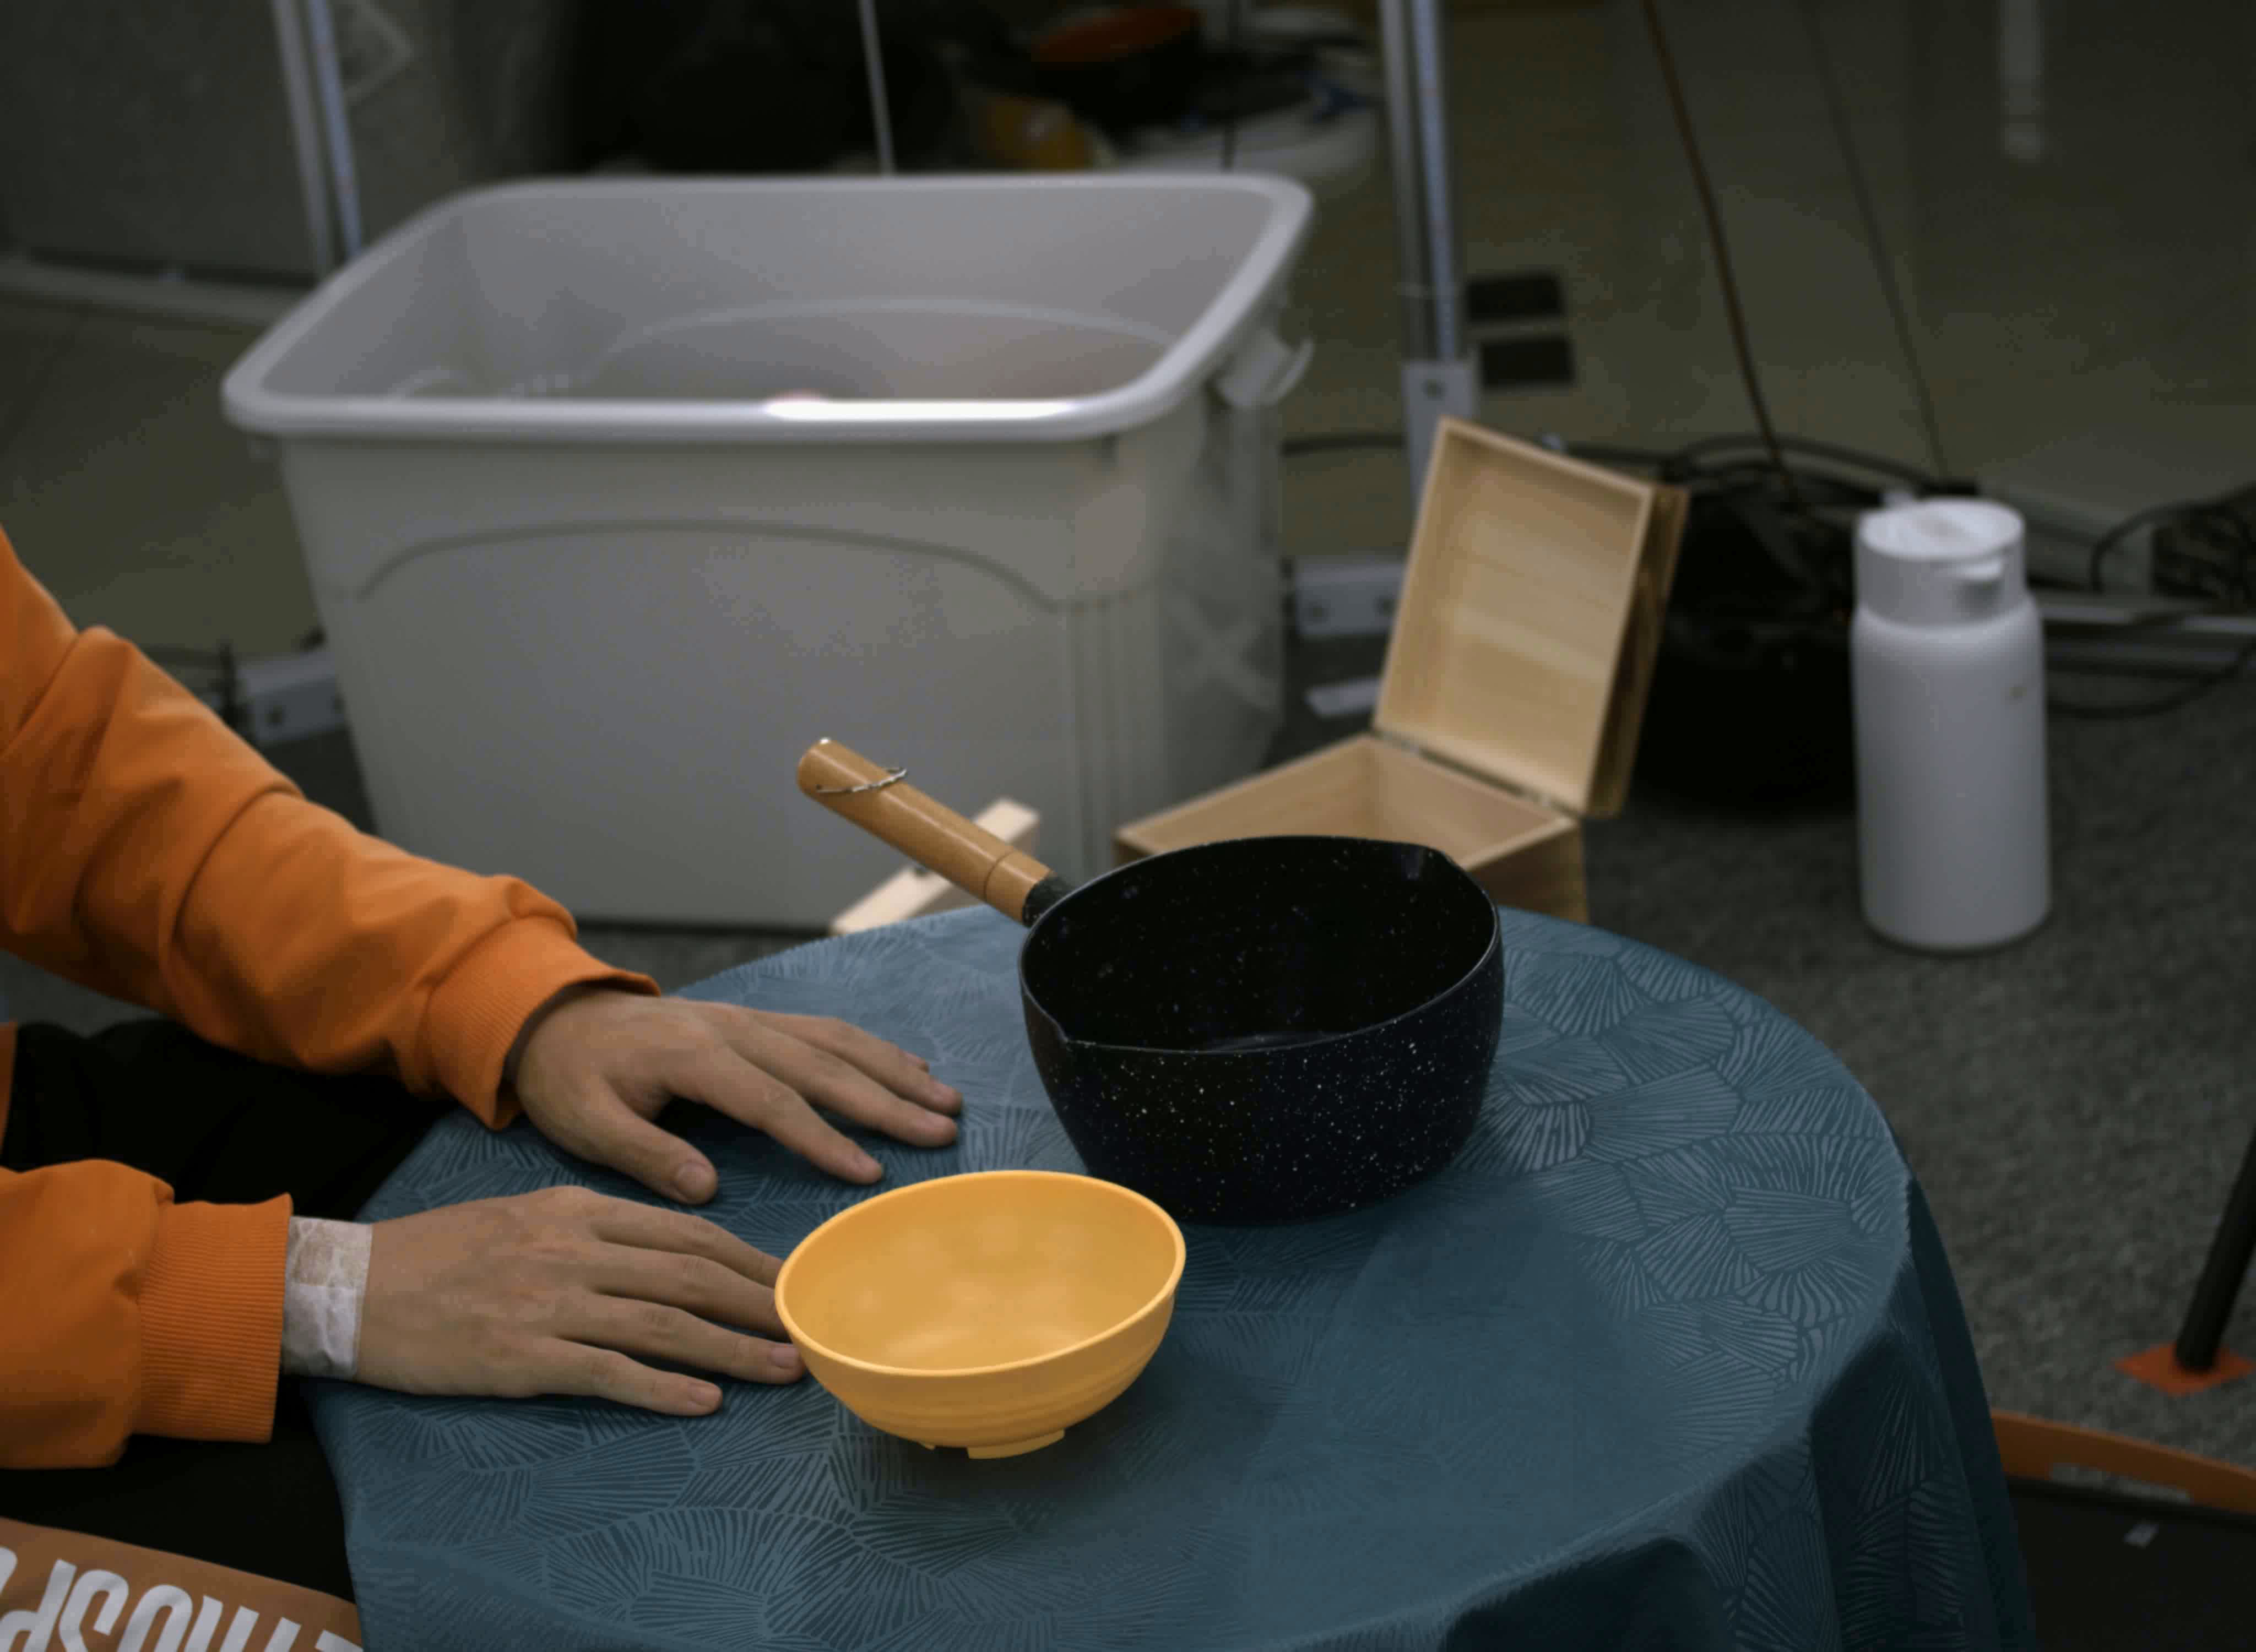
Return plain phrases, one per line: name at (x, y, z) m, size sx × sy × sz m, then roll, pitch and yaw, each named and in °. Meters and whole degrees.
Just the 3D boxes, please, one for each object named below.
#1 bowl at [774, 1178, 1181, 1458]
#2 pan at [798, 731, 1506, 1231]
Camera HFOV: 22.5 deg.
bowl at (-0.051, 0.182, 1.999) m, size 0.145 × 0.061 × 0.143 m, roll -5°, pitch 24°, yaw 2°
pan at (-0.005, 0.052, 2.204) m, size 0.340 × 0.110 × 0.205 m, roll 19°, pitch 36°, yaw 40°
